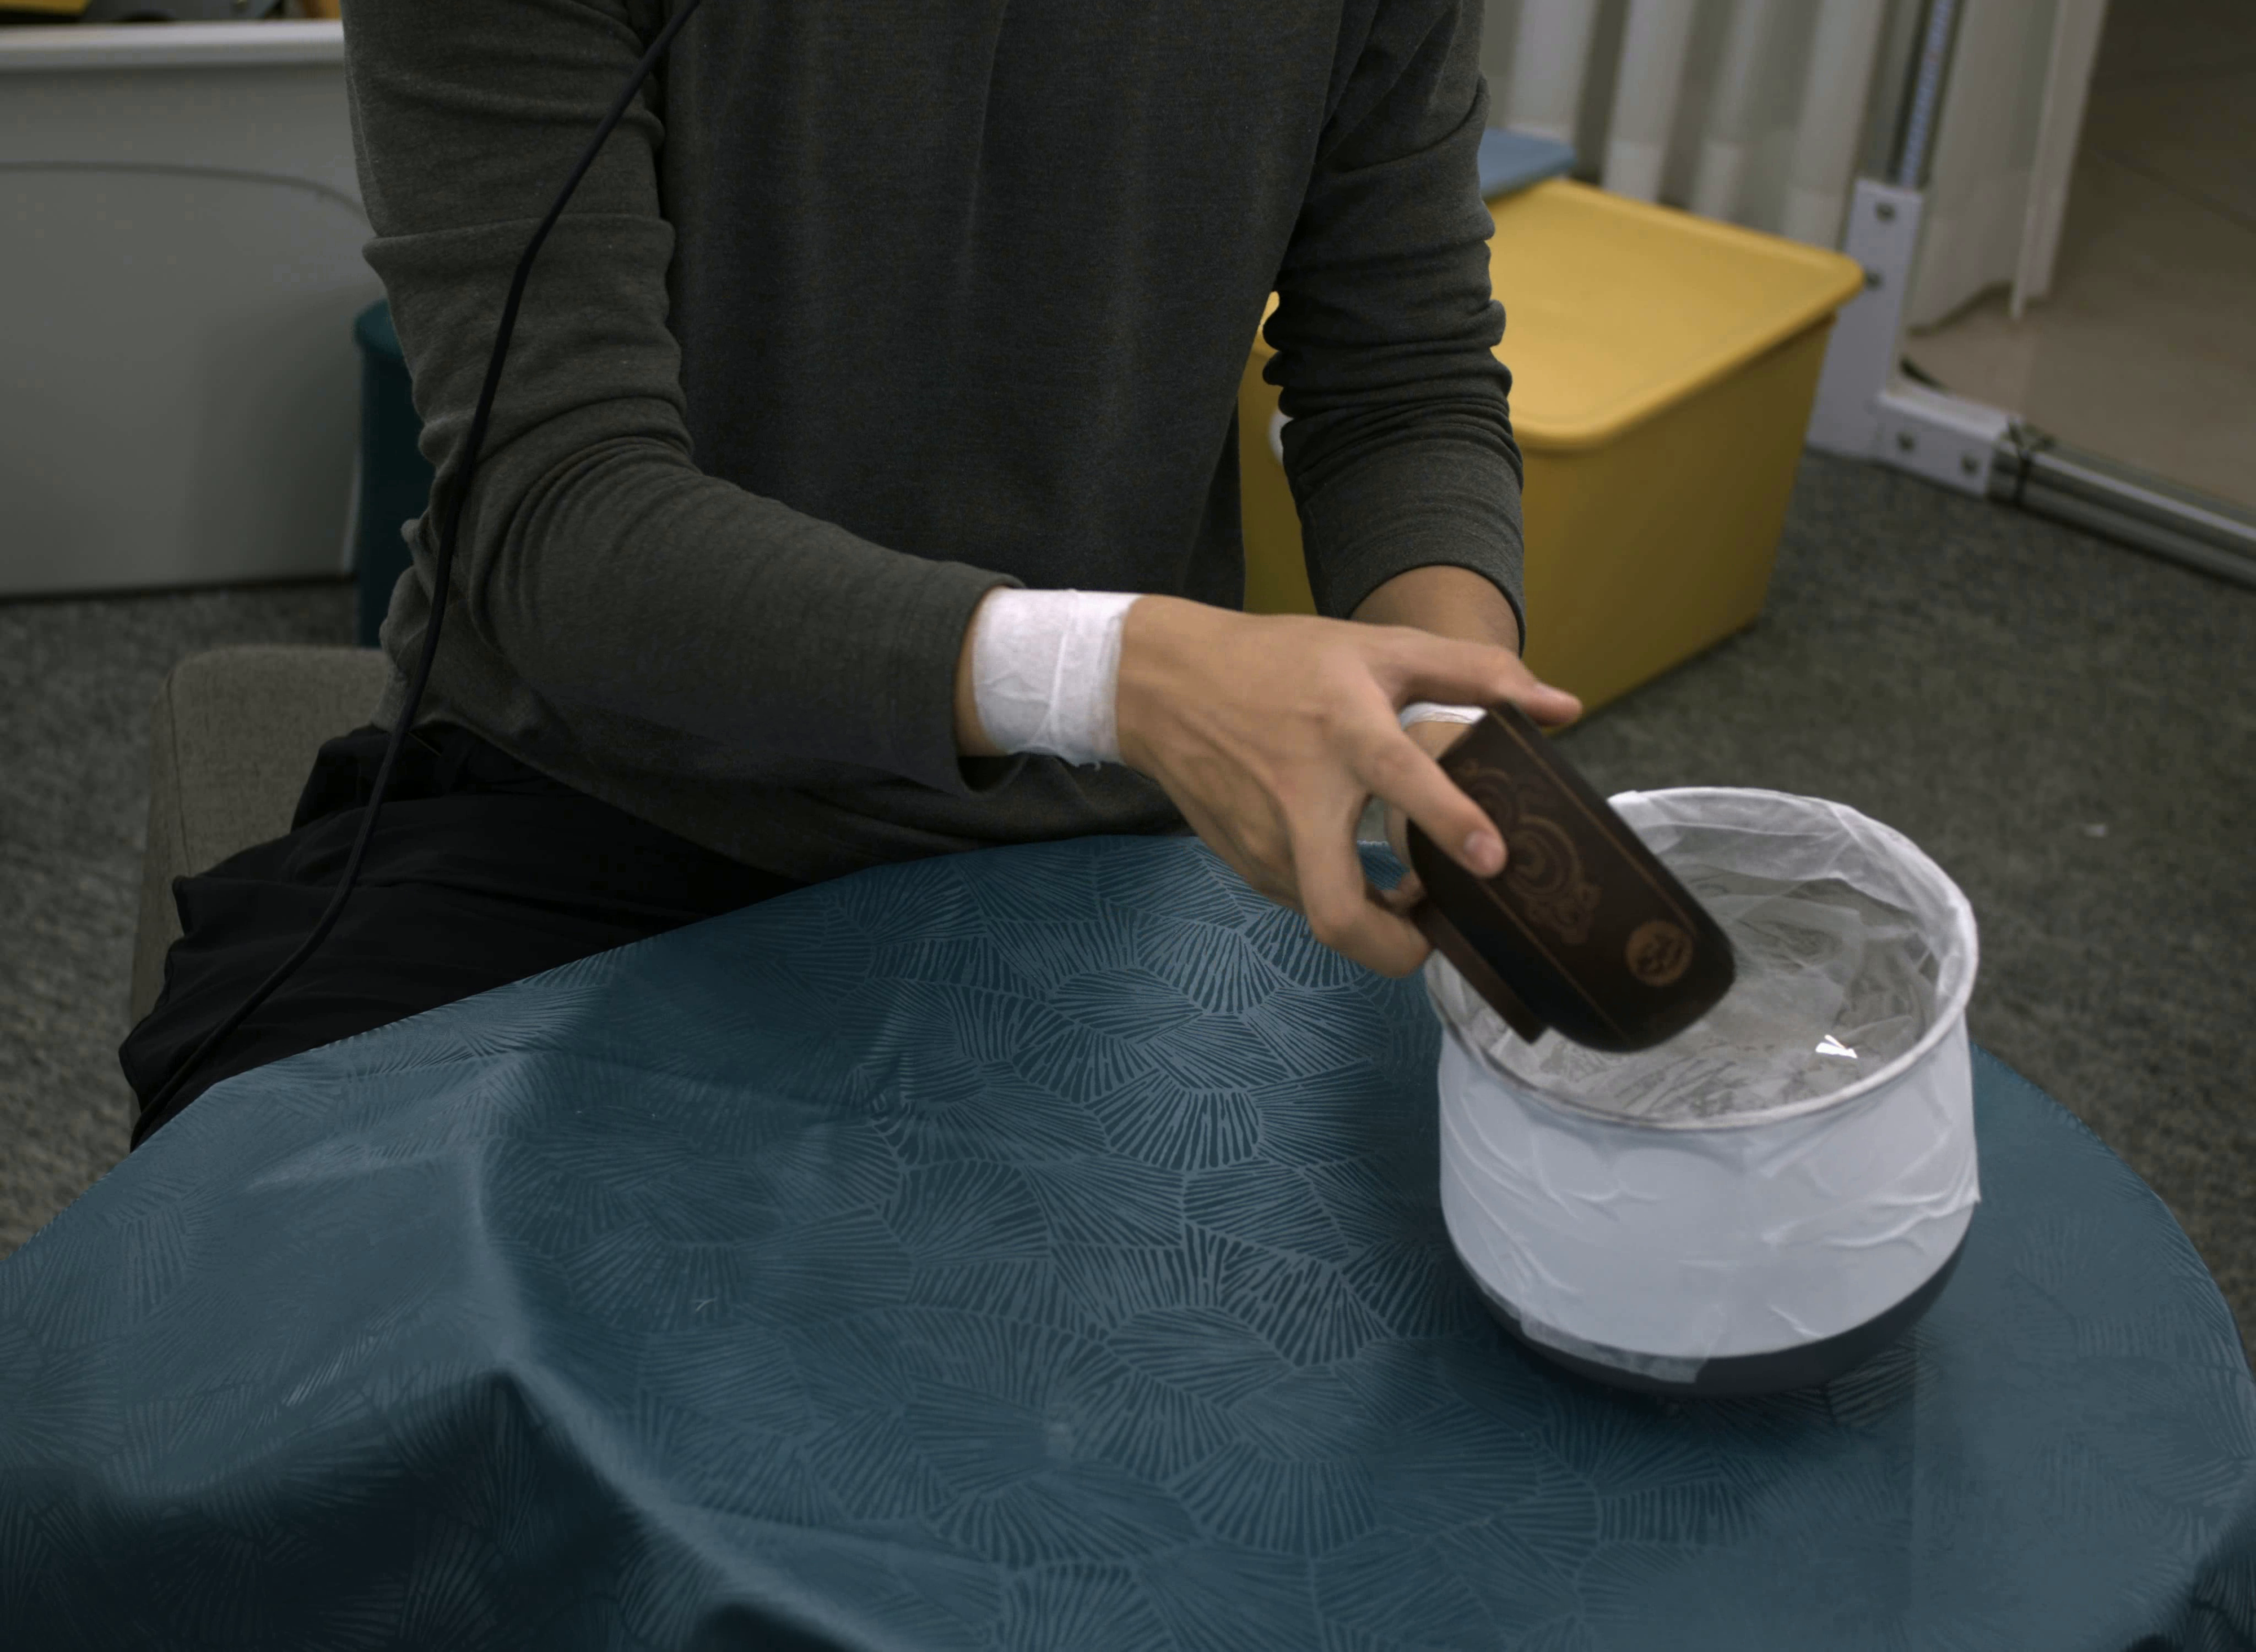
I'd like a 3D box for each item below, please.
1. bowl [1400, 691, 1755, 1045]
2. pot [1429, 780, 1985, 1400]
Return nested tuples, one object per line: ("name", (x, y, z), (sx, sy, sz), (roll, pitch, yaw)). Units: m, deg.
("bowl", (0.130, 0.022, 1.649), (0.118, 0.070, 0.118), (45, 2, -2))
("pot", (0.175, 0.075, 1.754), (0.178, 0.136, 0.236), (-20, 38, -19))
